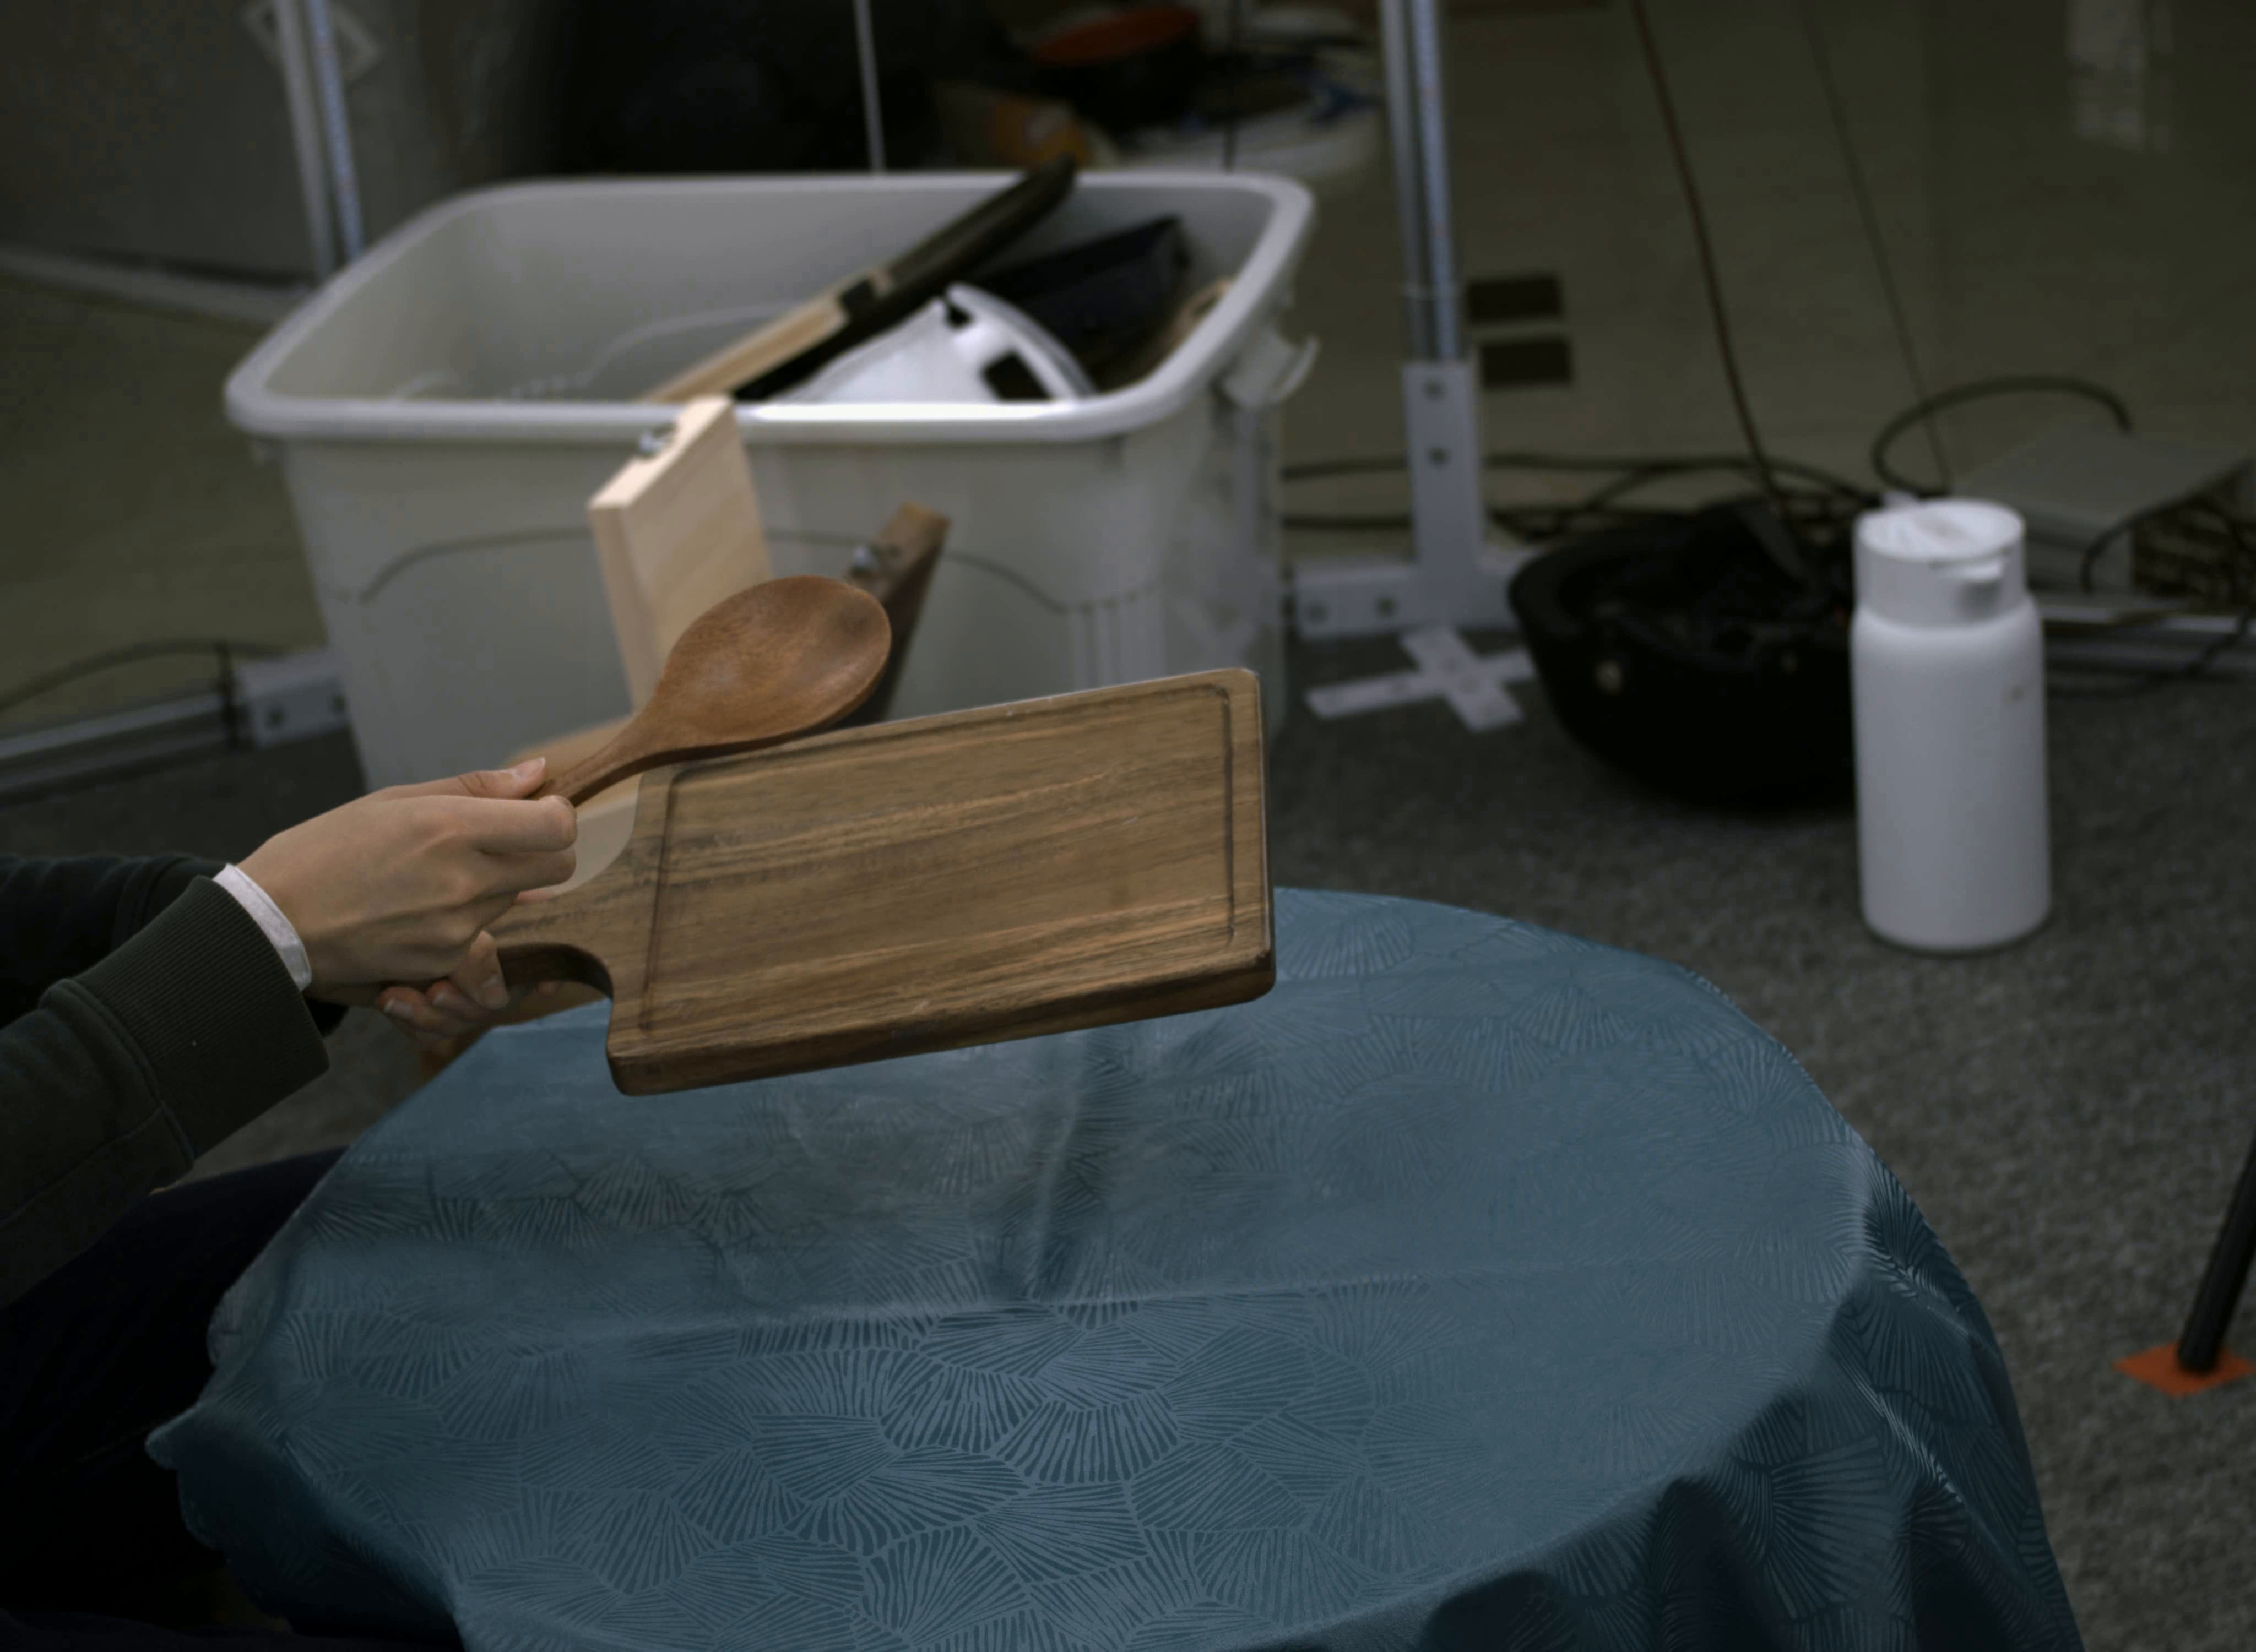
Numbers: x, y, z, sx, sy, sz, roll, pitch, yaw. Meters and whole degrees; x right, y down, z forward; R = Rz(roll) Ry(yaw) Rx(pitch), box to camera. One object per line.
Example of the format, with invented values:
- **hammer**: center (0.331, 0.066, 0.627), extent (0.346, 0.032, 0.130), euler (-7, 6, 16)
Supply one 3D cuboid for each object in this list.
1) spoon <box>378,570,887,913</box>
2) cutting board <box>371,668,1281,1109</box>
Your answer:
- **spoon**: center (-0.182, -0.028, 2.072), extent (0.214, 0.017, 0.074), euler (-32, 59, -20)
- **cutting board**: center (-0.117, 0.029, 2.161), extent (0.352, 0.023, 0.197), euler (-9, 37, 7)
